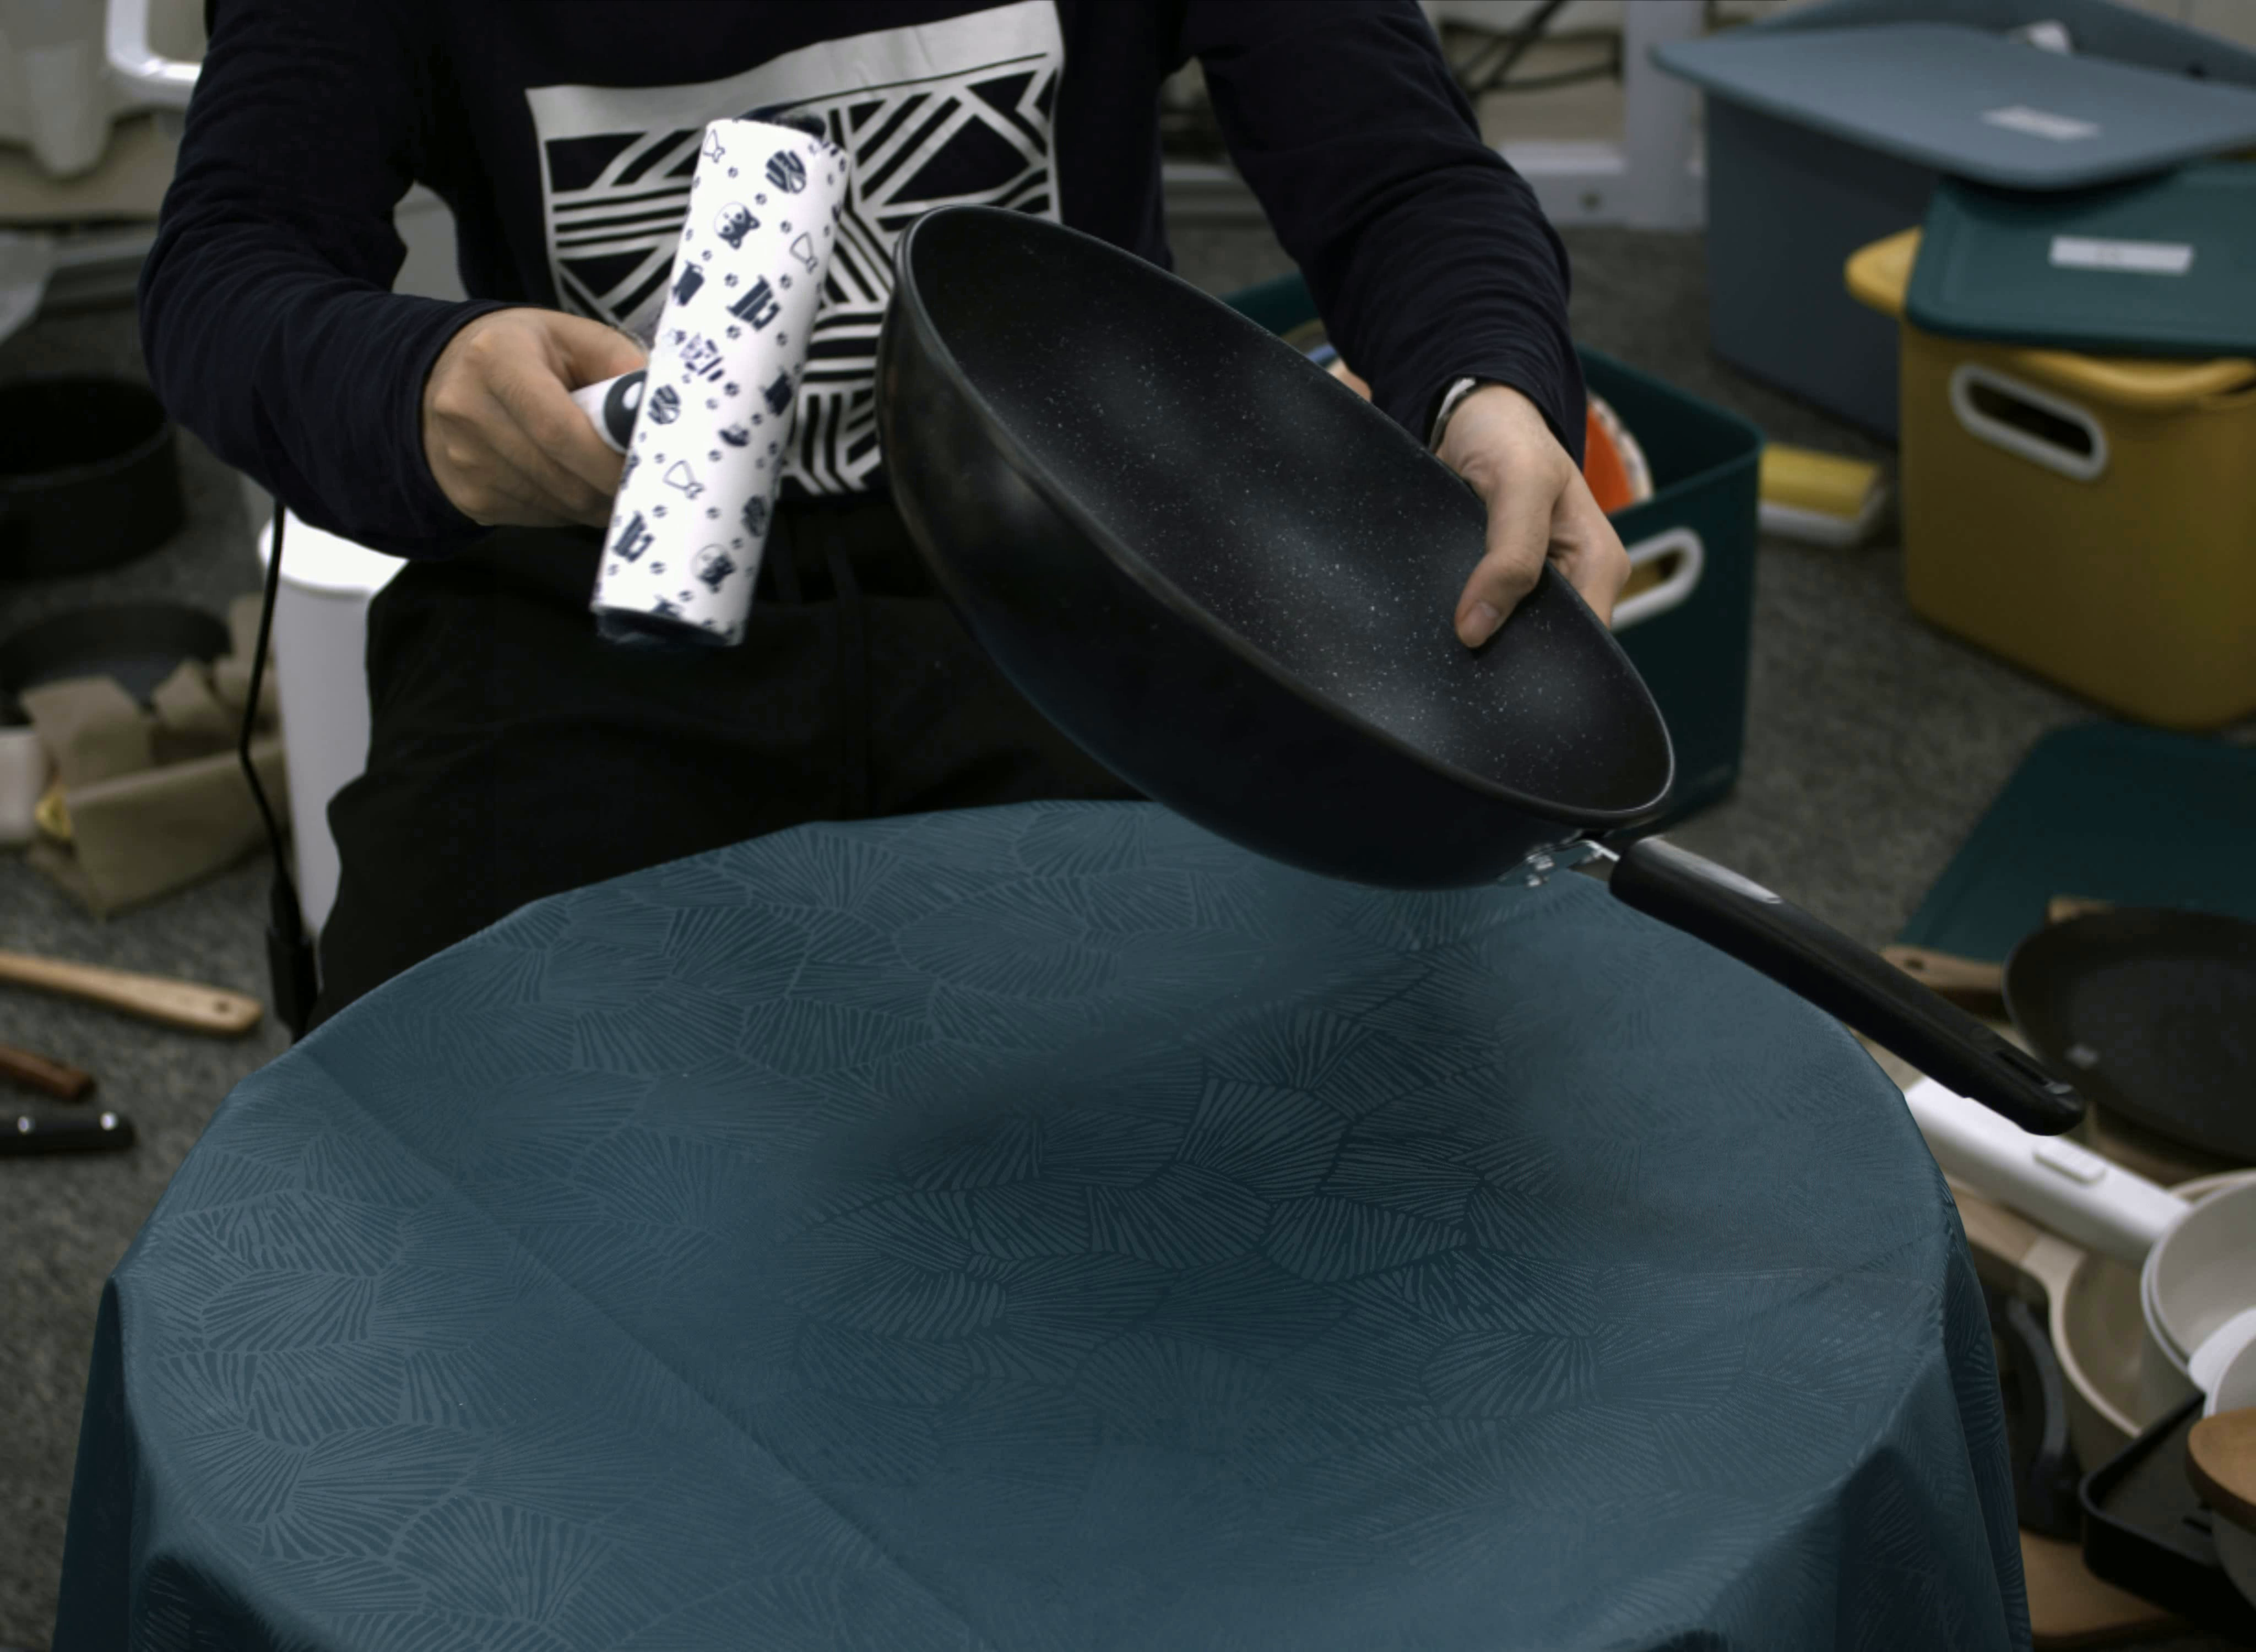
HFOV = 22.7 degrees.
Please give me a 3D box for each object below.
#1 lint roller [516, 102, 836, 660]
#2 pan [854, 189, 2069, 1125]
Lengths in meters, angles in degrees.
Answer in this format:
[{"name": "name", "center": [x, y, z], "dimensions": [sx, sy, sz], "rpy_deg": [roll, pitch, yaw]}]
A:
[{"name": "lint roller", "center": [-0.169, -0.135, 1.868], "dimensions": [0.050, 0.178, 0.245], "rpy_deg": [17, -9, -21]}, {"name": "pan", "center": [0.091, -0.032, 1.802], "dimensions": [0.479, 0.110, 0.312], "rpy_deg": [43, 21, 18]}]
